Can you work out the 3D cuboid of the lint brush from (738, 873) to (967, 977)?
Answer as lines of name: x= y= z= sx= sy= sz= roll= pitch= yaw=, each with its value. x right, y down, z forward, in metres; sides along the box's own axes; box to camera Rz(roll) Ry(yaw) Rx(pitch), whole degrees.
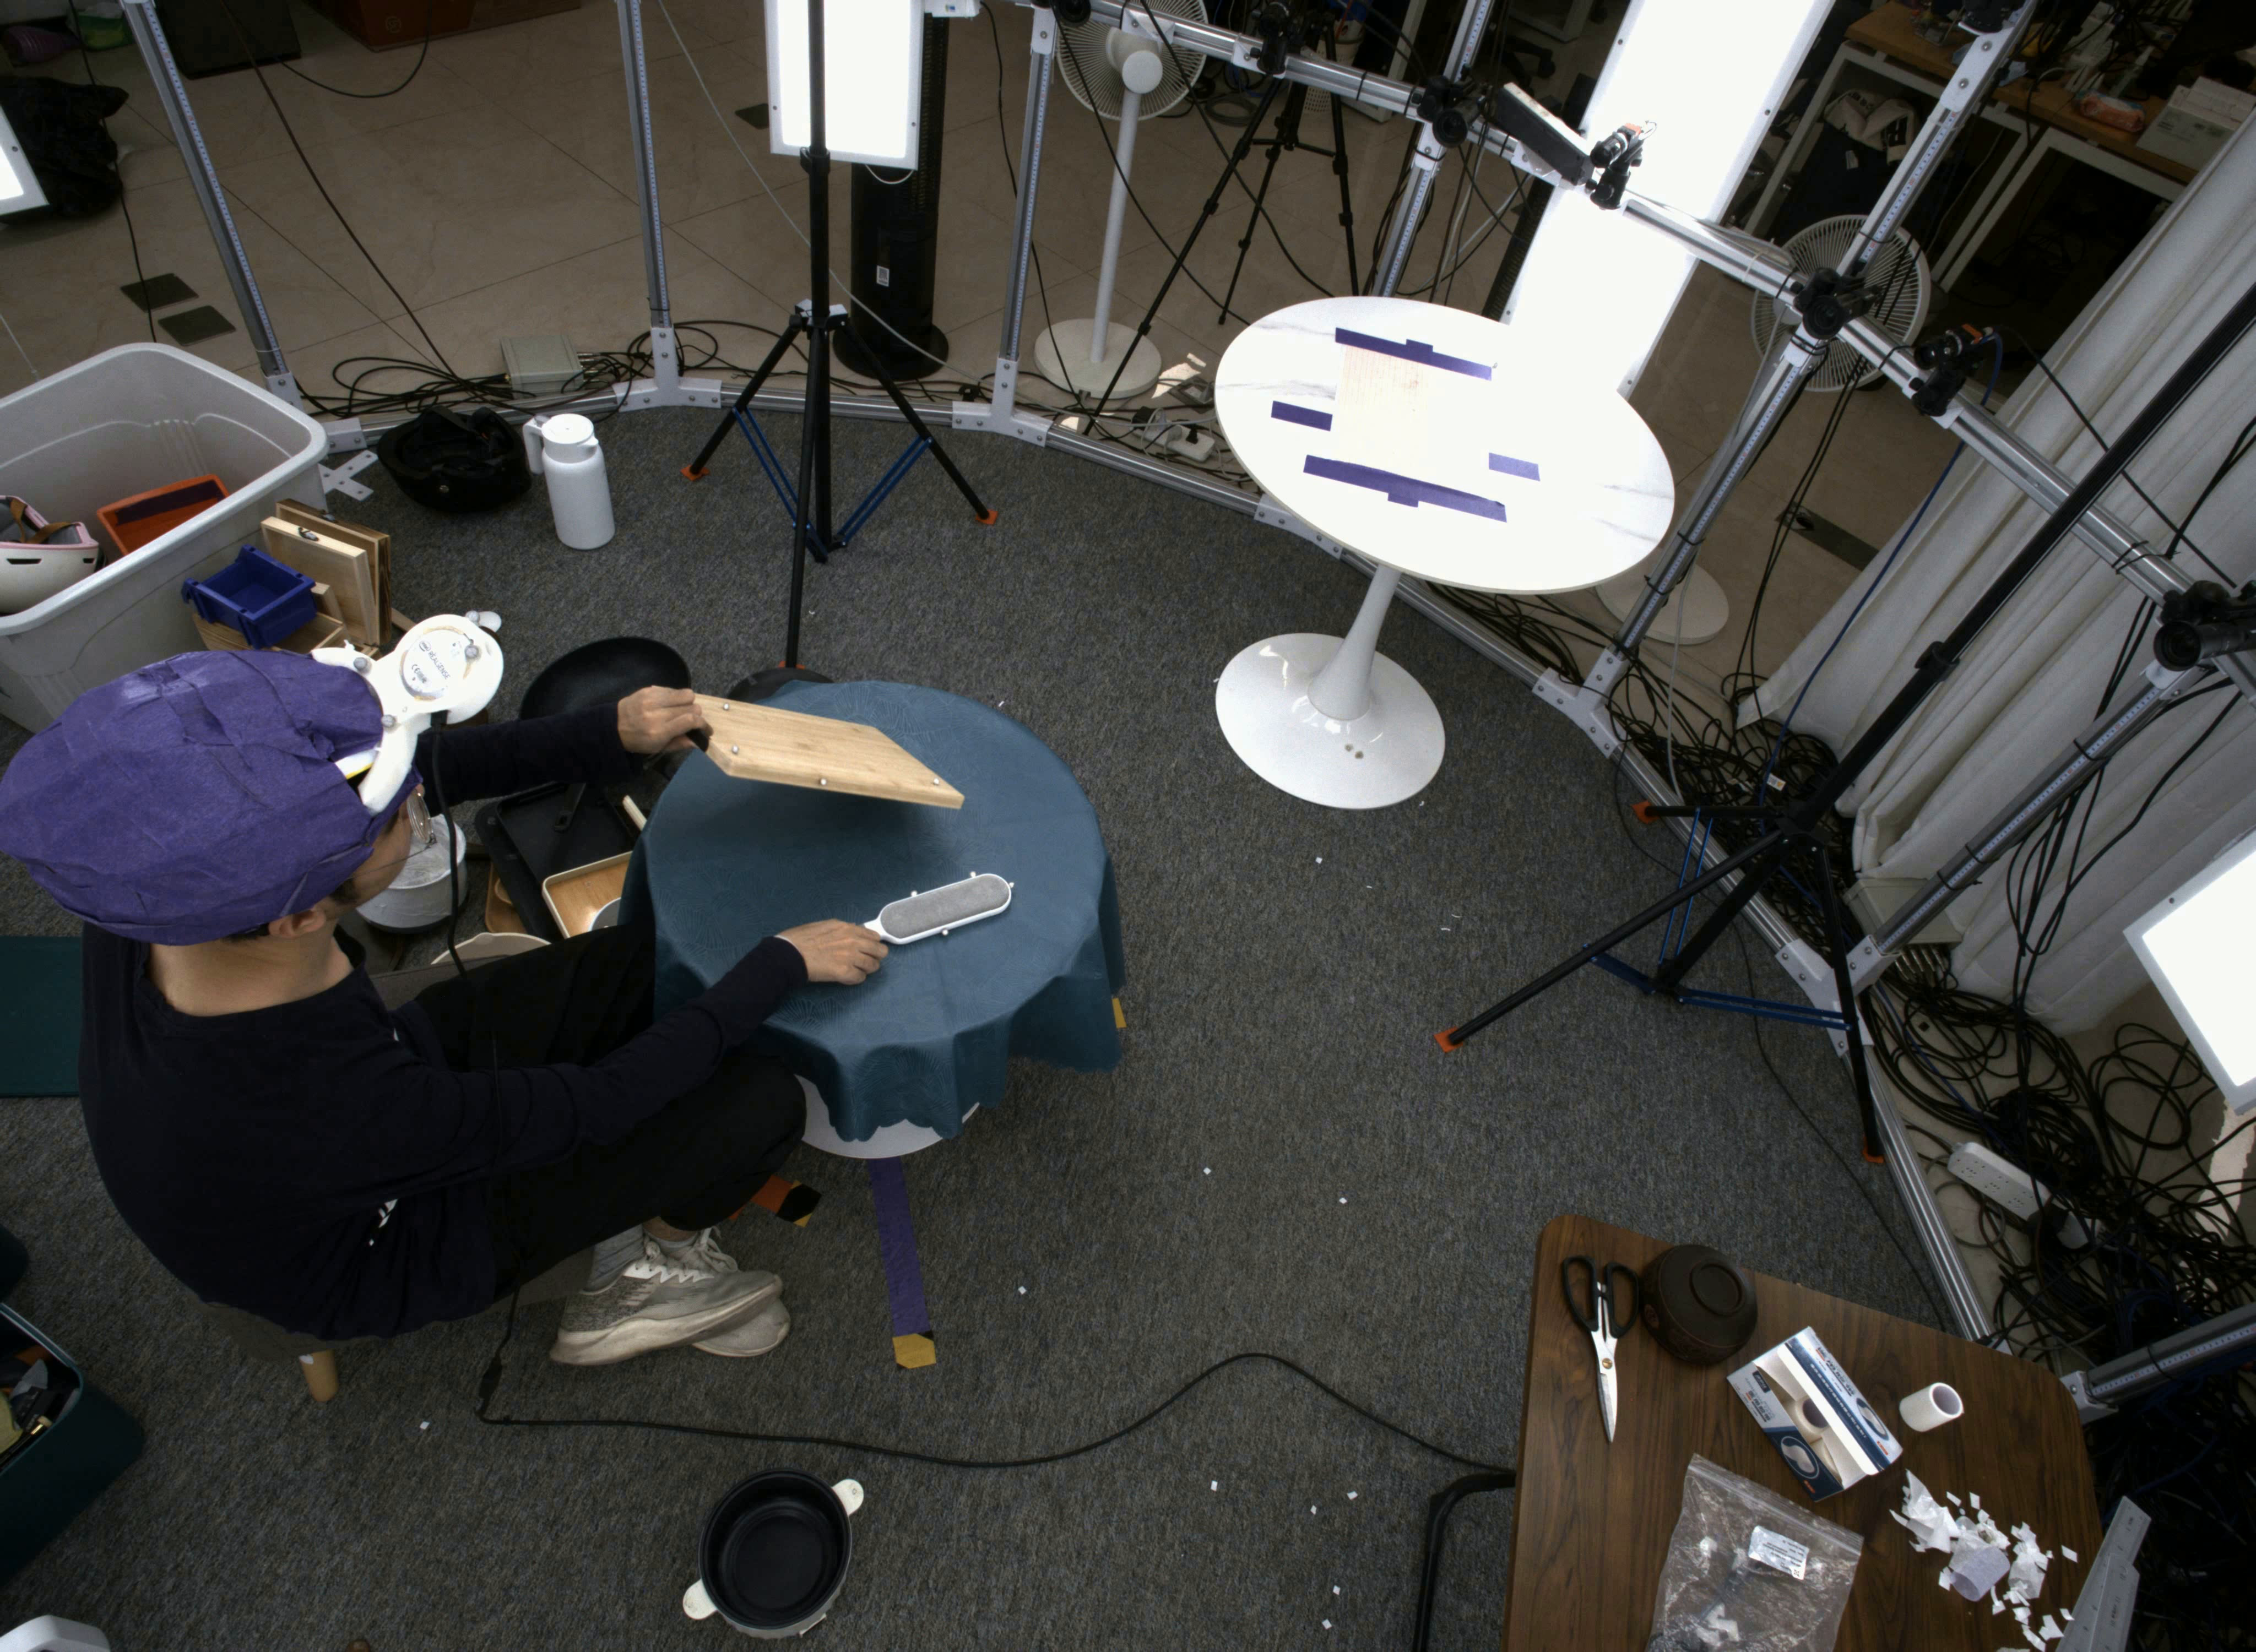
lint brush: x=-0.344 y=0.124 z=1.642 sx=0.310 sy=0.021 sz=0.059 roll=-20 pitch=71 yaw=-28

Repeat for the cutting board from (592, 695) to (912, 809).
cutting board: x=-0.470 y=-0.092 z=1.617 sx=0.241 sy=0.024 sz=0.357 roll=32 pitch=16 yaw=37
